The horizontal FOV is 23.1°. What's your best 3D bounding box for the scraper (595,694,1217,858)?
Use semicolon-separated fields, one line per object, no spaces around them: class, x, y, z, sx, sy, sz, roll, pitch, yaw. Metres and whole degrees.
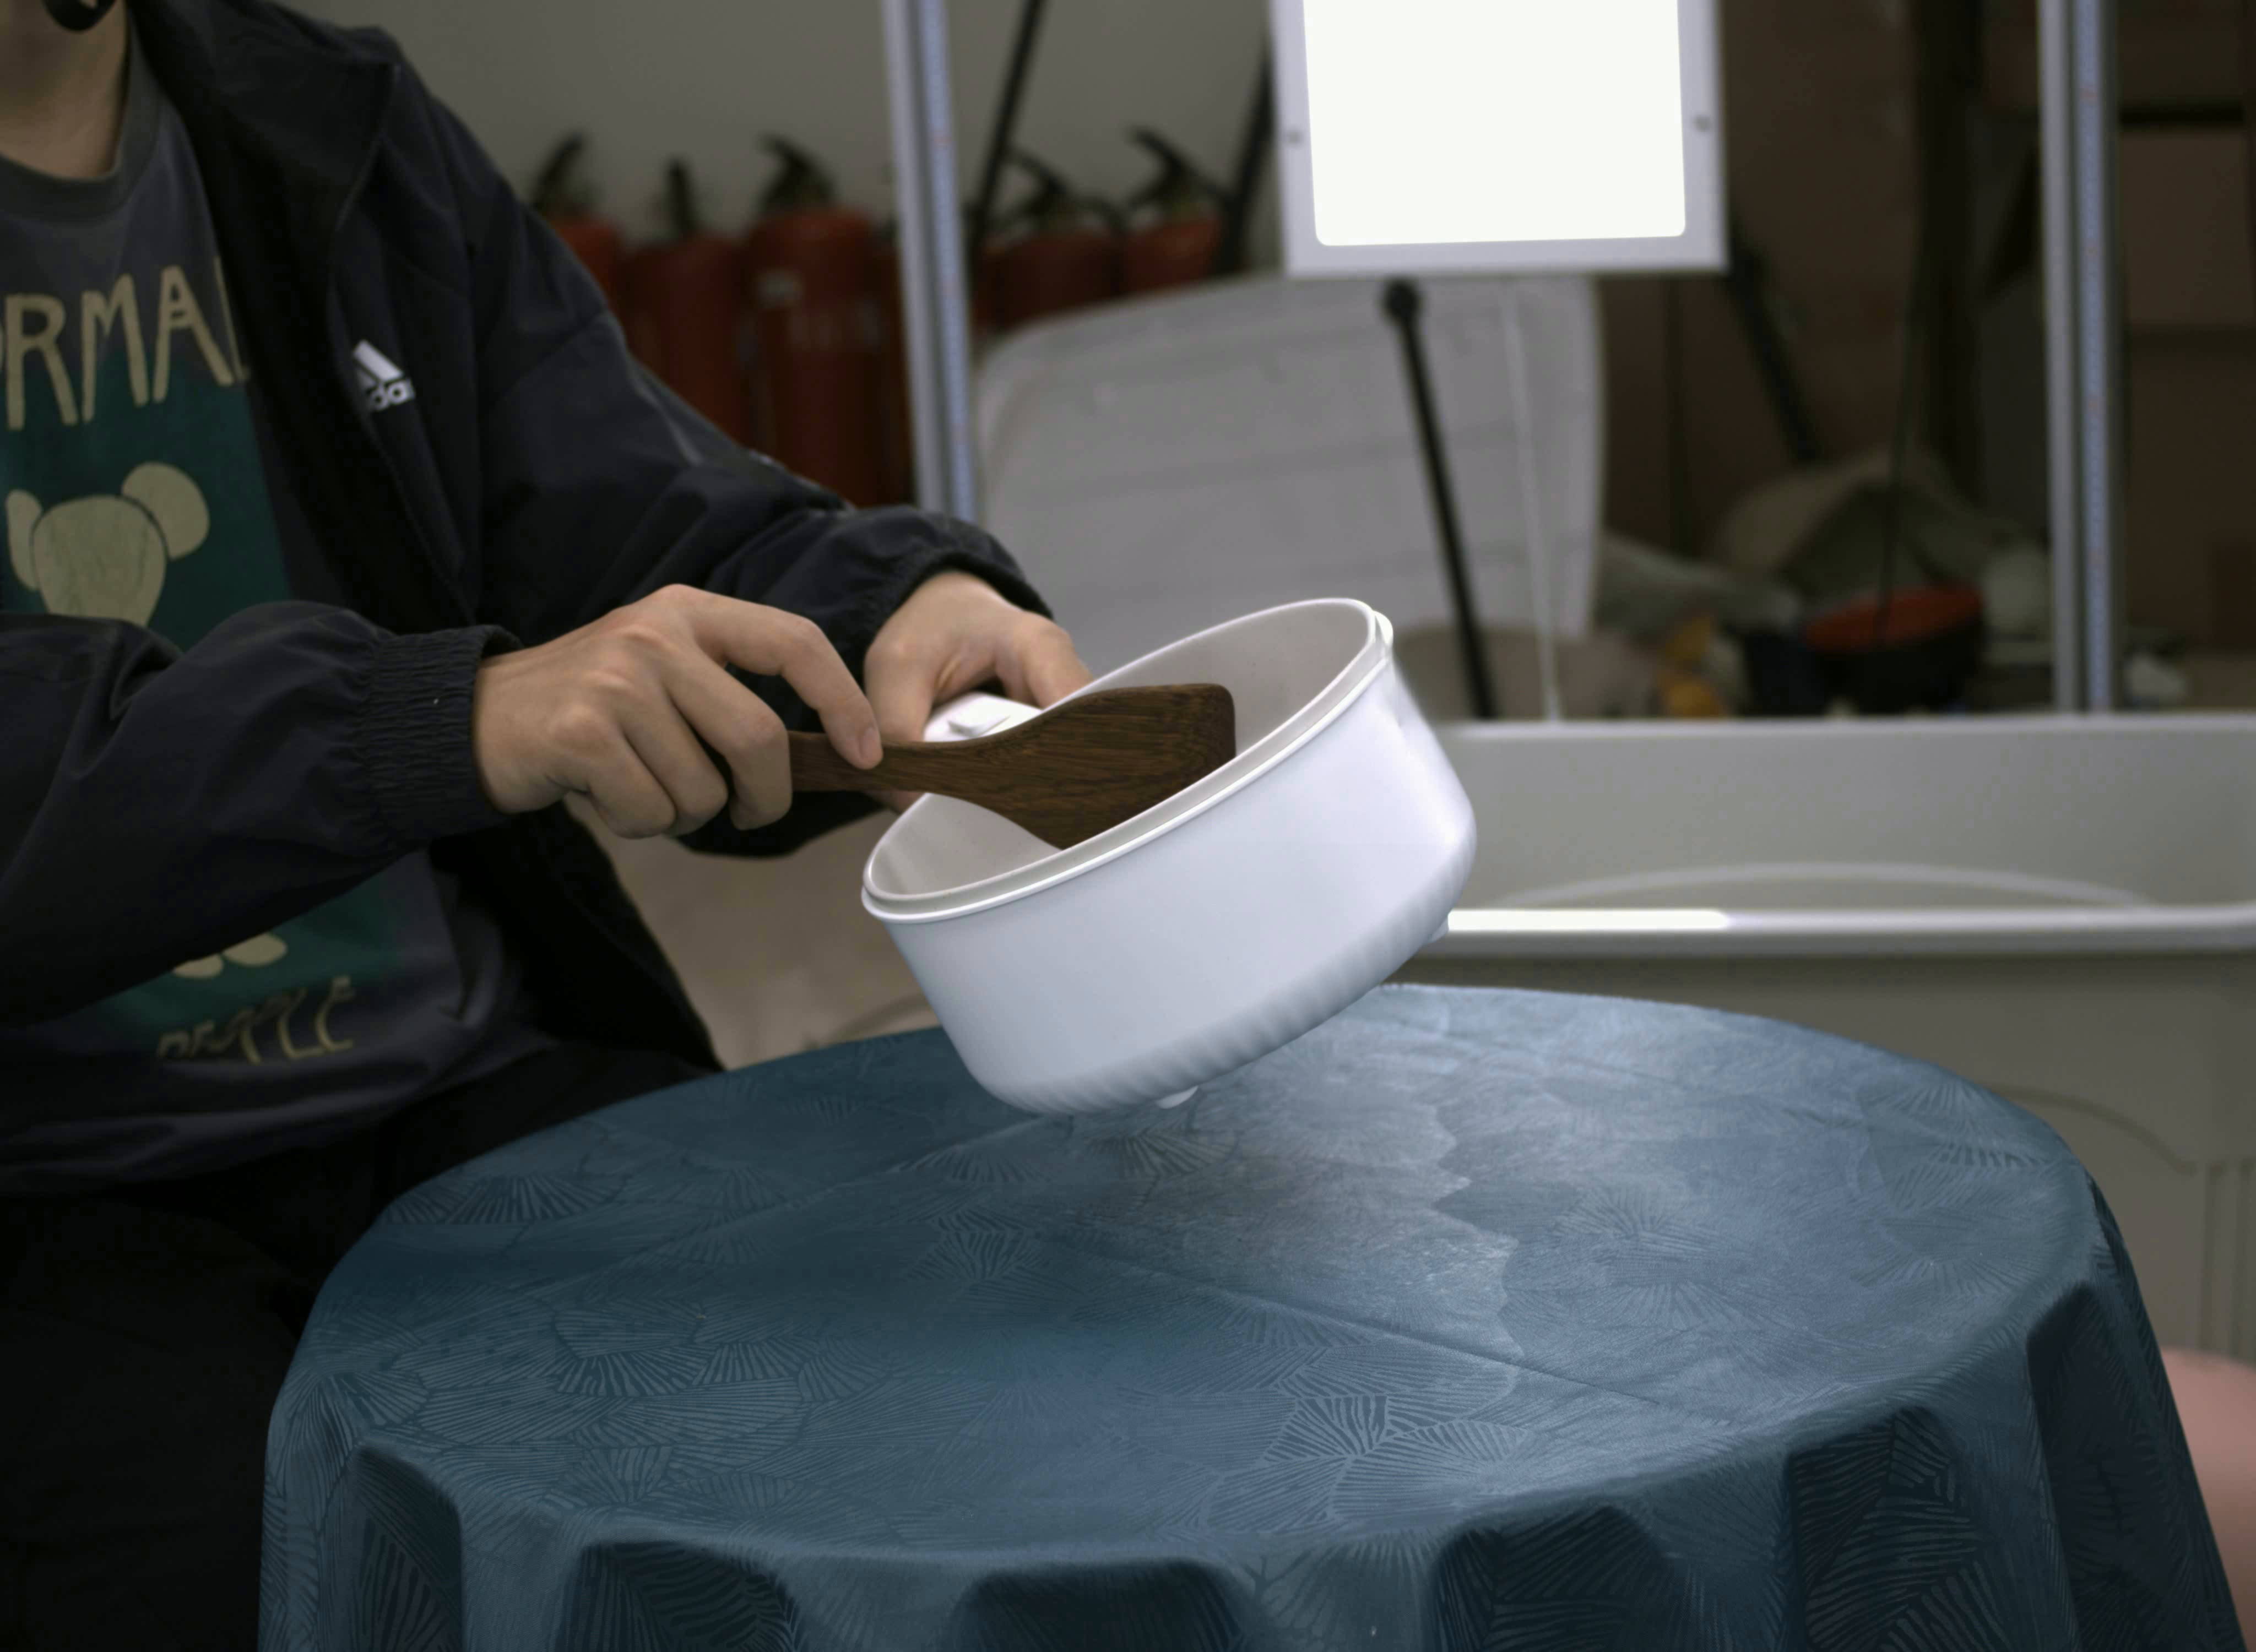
scraper;-0.075;-0.013;1.850;0.211;0.076;0.011;3;33;5

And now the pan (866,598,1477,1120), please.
pan;-0.004;0.010;1.935;0.199;0.102;0.359;-33;14;-12
